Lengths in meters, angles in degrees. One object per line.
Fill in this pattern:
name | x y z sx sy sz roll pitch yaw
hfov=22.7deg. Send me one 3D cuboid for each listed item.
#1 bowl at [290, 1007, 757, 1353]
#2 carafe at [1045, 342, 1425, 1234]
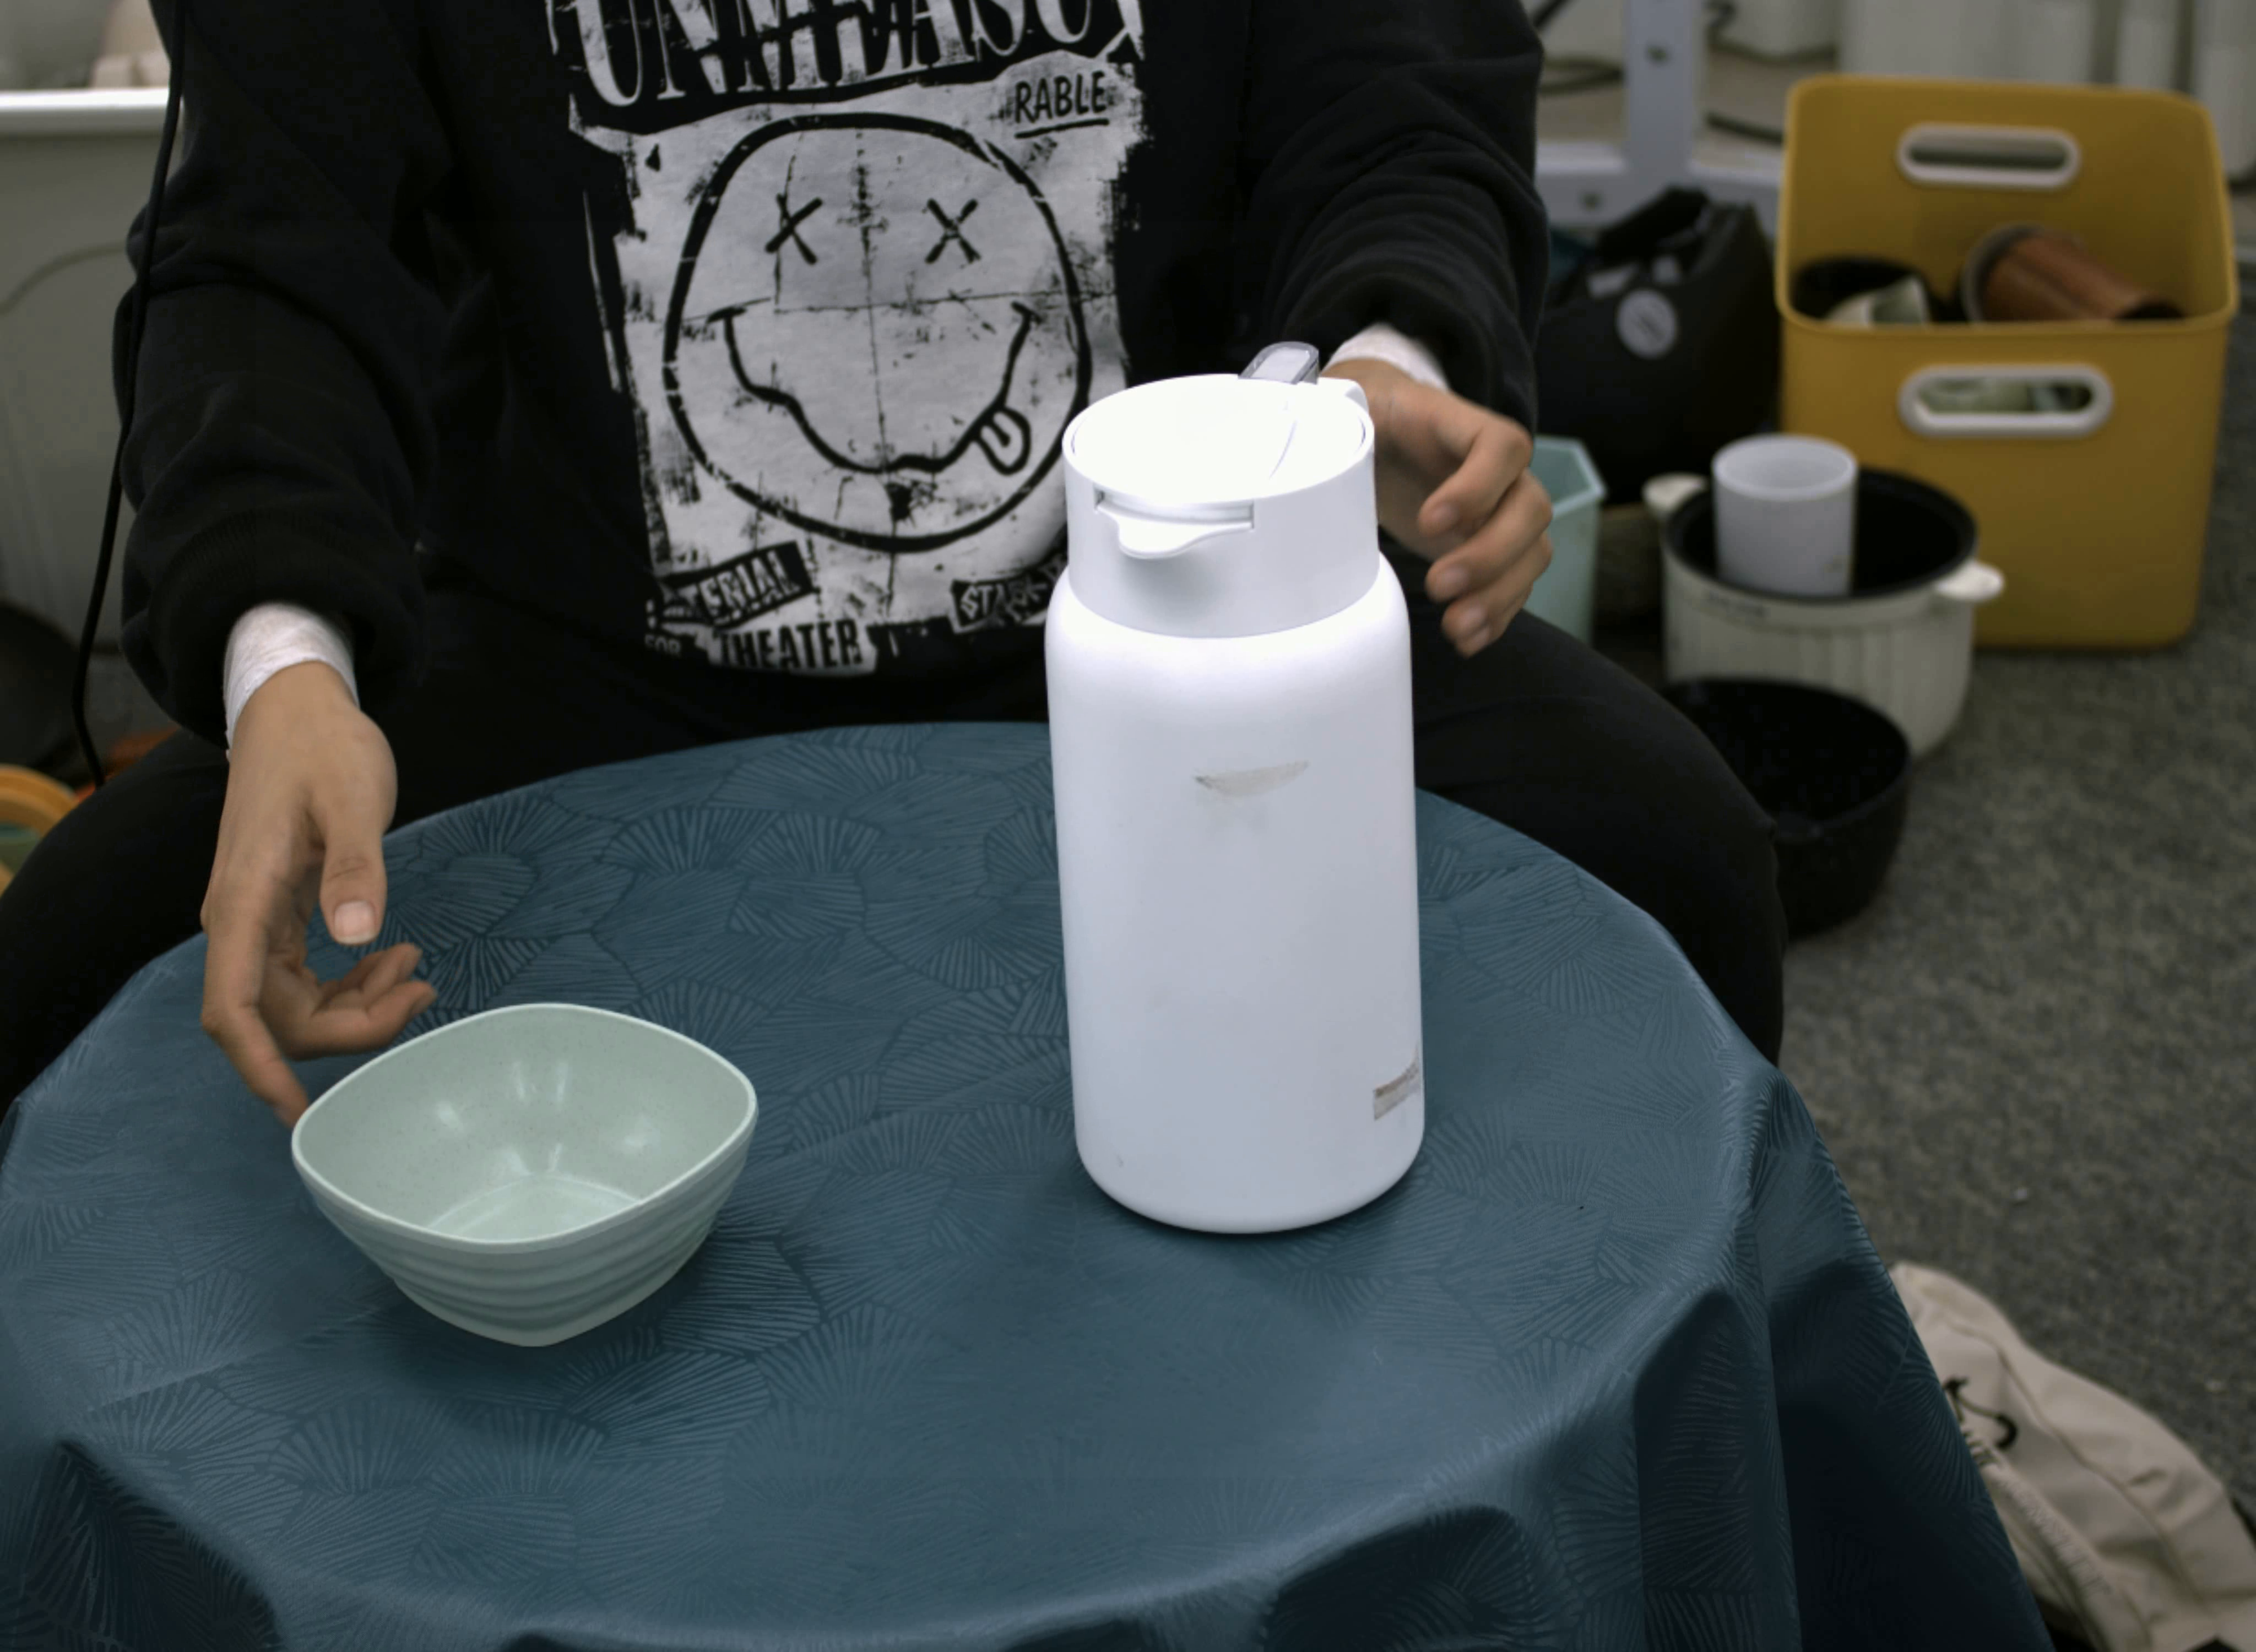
bowl | -0.194 0.121 1.822 0.151 0.058 0.154 -2 27 1
carafe | 0.039 -0.016 1.834 0.123 0.266 0.176 4 27 19
